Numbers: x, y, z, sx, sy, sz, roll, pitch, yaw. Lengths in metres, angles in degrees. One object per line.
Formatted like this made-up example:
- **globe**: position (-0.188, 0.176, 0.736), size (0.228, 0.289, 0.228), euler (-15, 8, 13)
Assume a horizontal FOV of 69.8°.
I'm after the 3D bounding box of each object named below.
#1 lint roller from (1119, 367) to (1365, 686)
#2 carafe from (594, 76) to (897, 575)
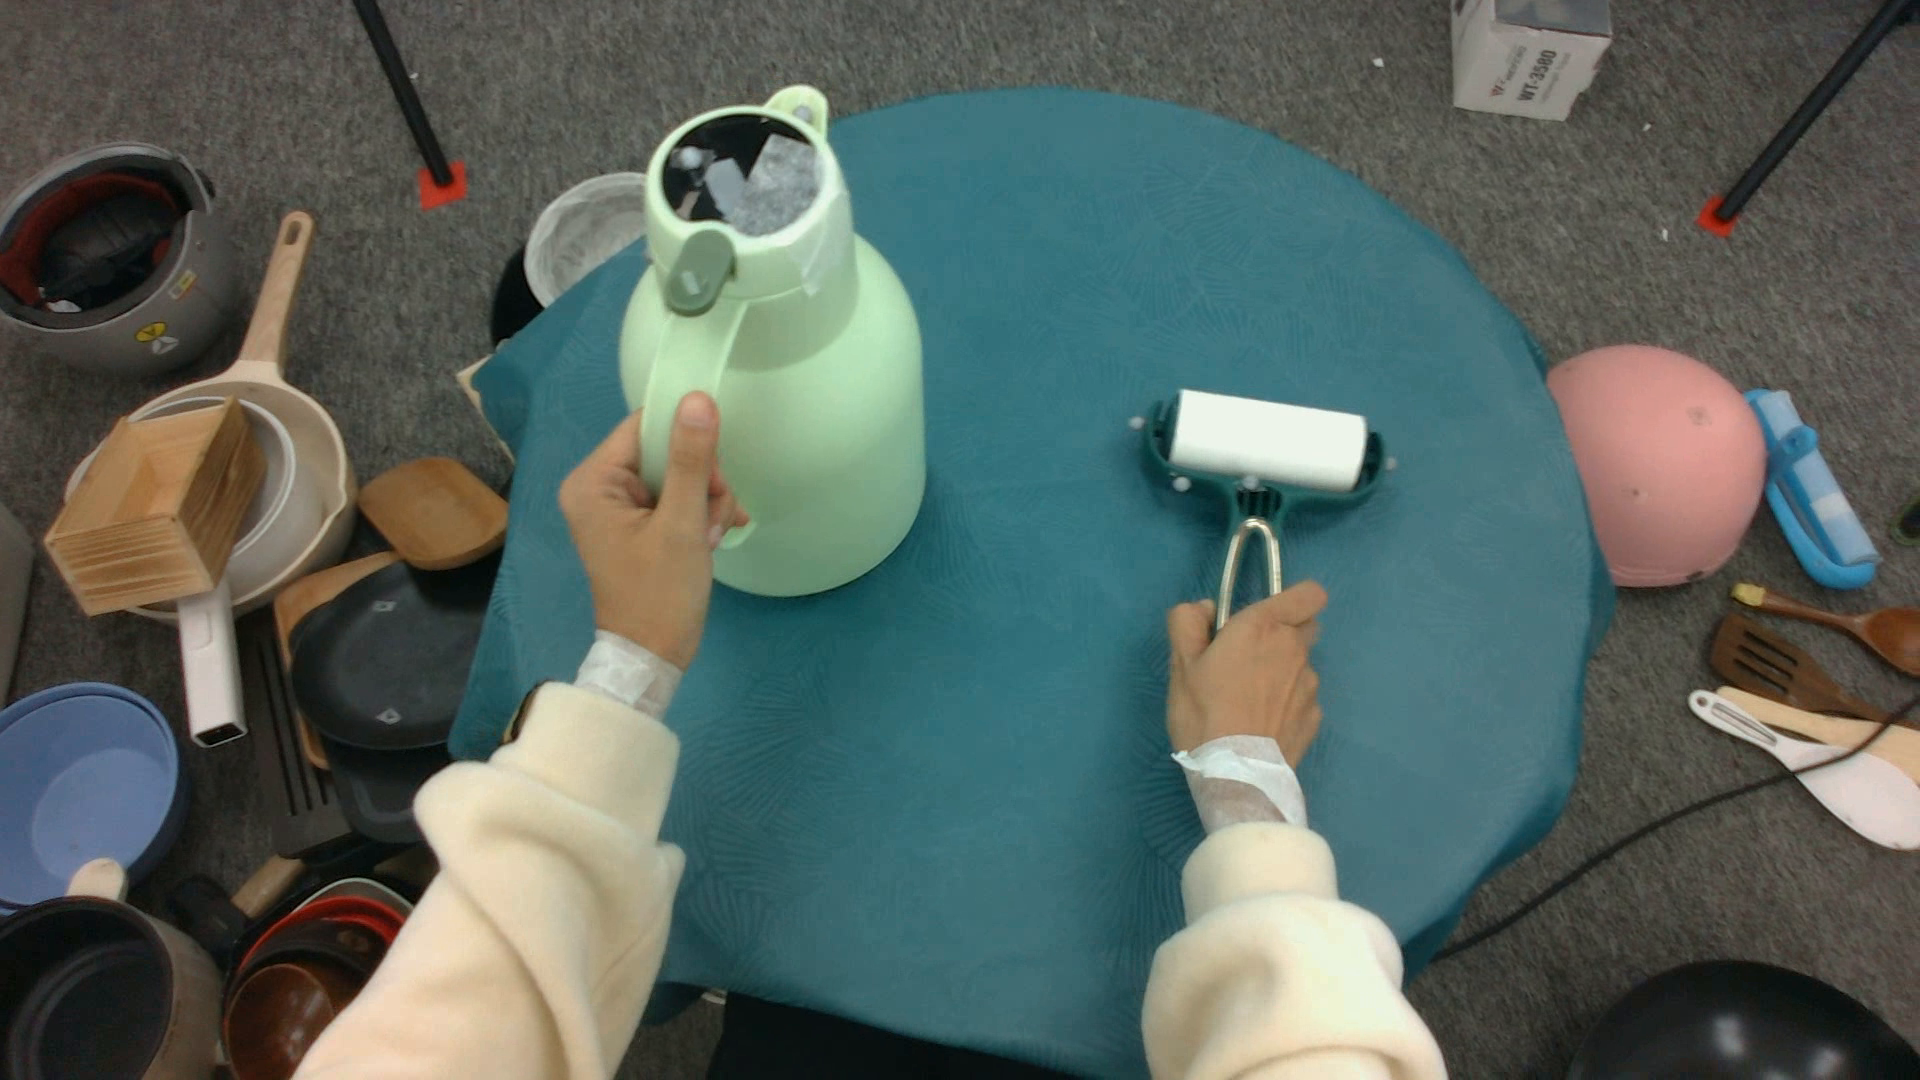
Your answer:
- **lint roller**: position (0.143, -0.011, 0.717), size (0.134, 0.048, 0.181), euler (9, 52, 2)
- **carafe**: position (-0.105, -0.081, 0.646), size (0.144, 0.256, 0.187), euler (15, 68, 4)
